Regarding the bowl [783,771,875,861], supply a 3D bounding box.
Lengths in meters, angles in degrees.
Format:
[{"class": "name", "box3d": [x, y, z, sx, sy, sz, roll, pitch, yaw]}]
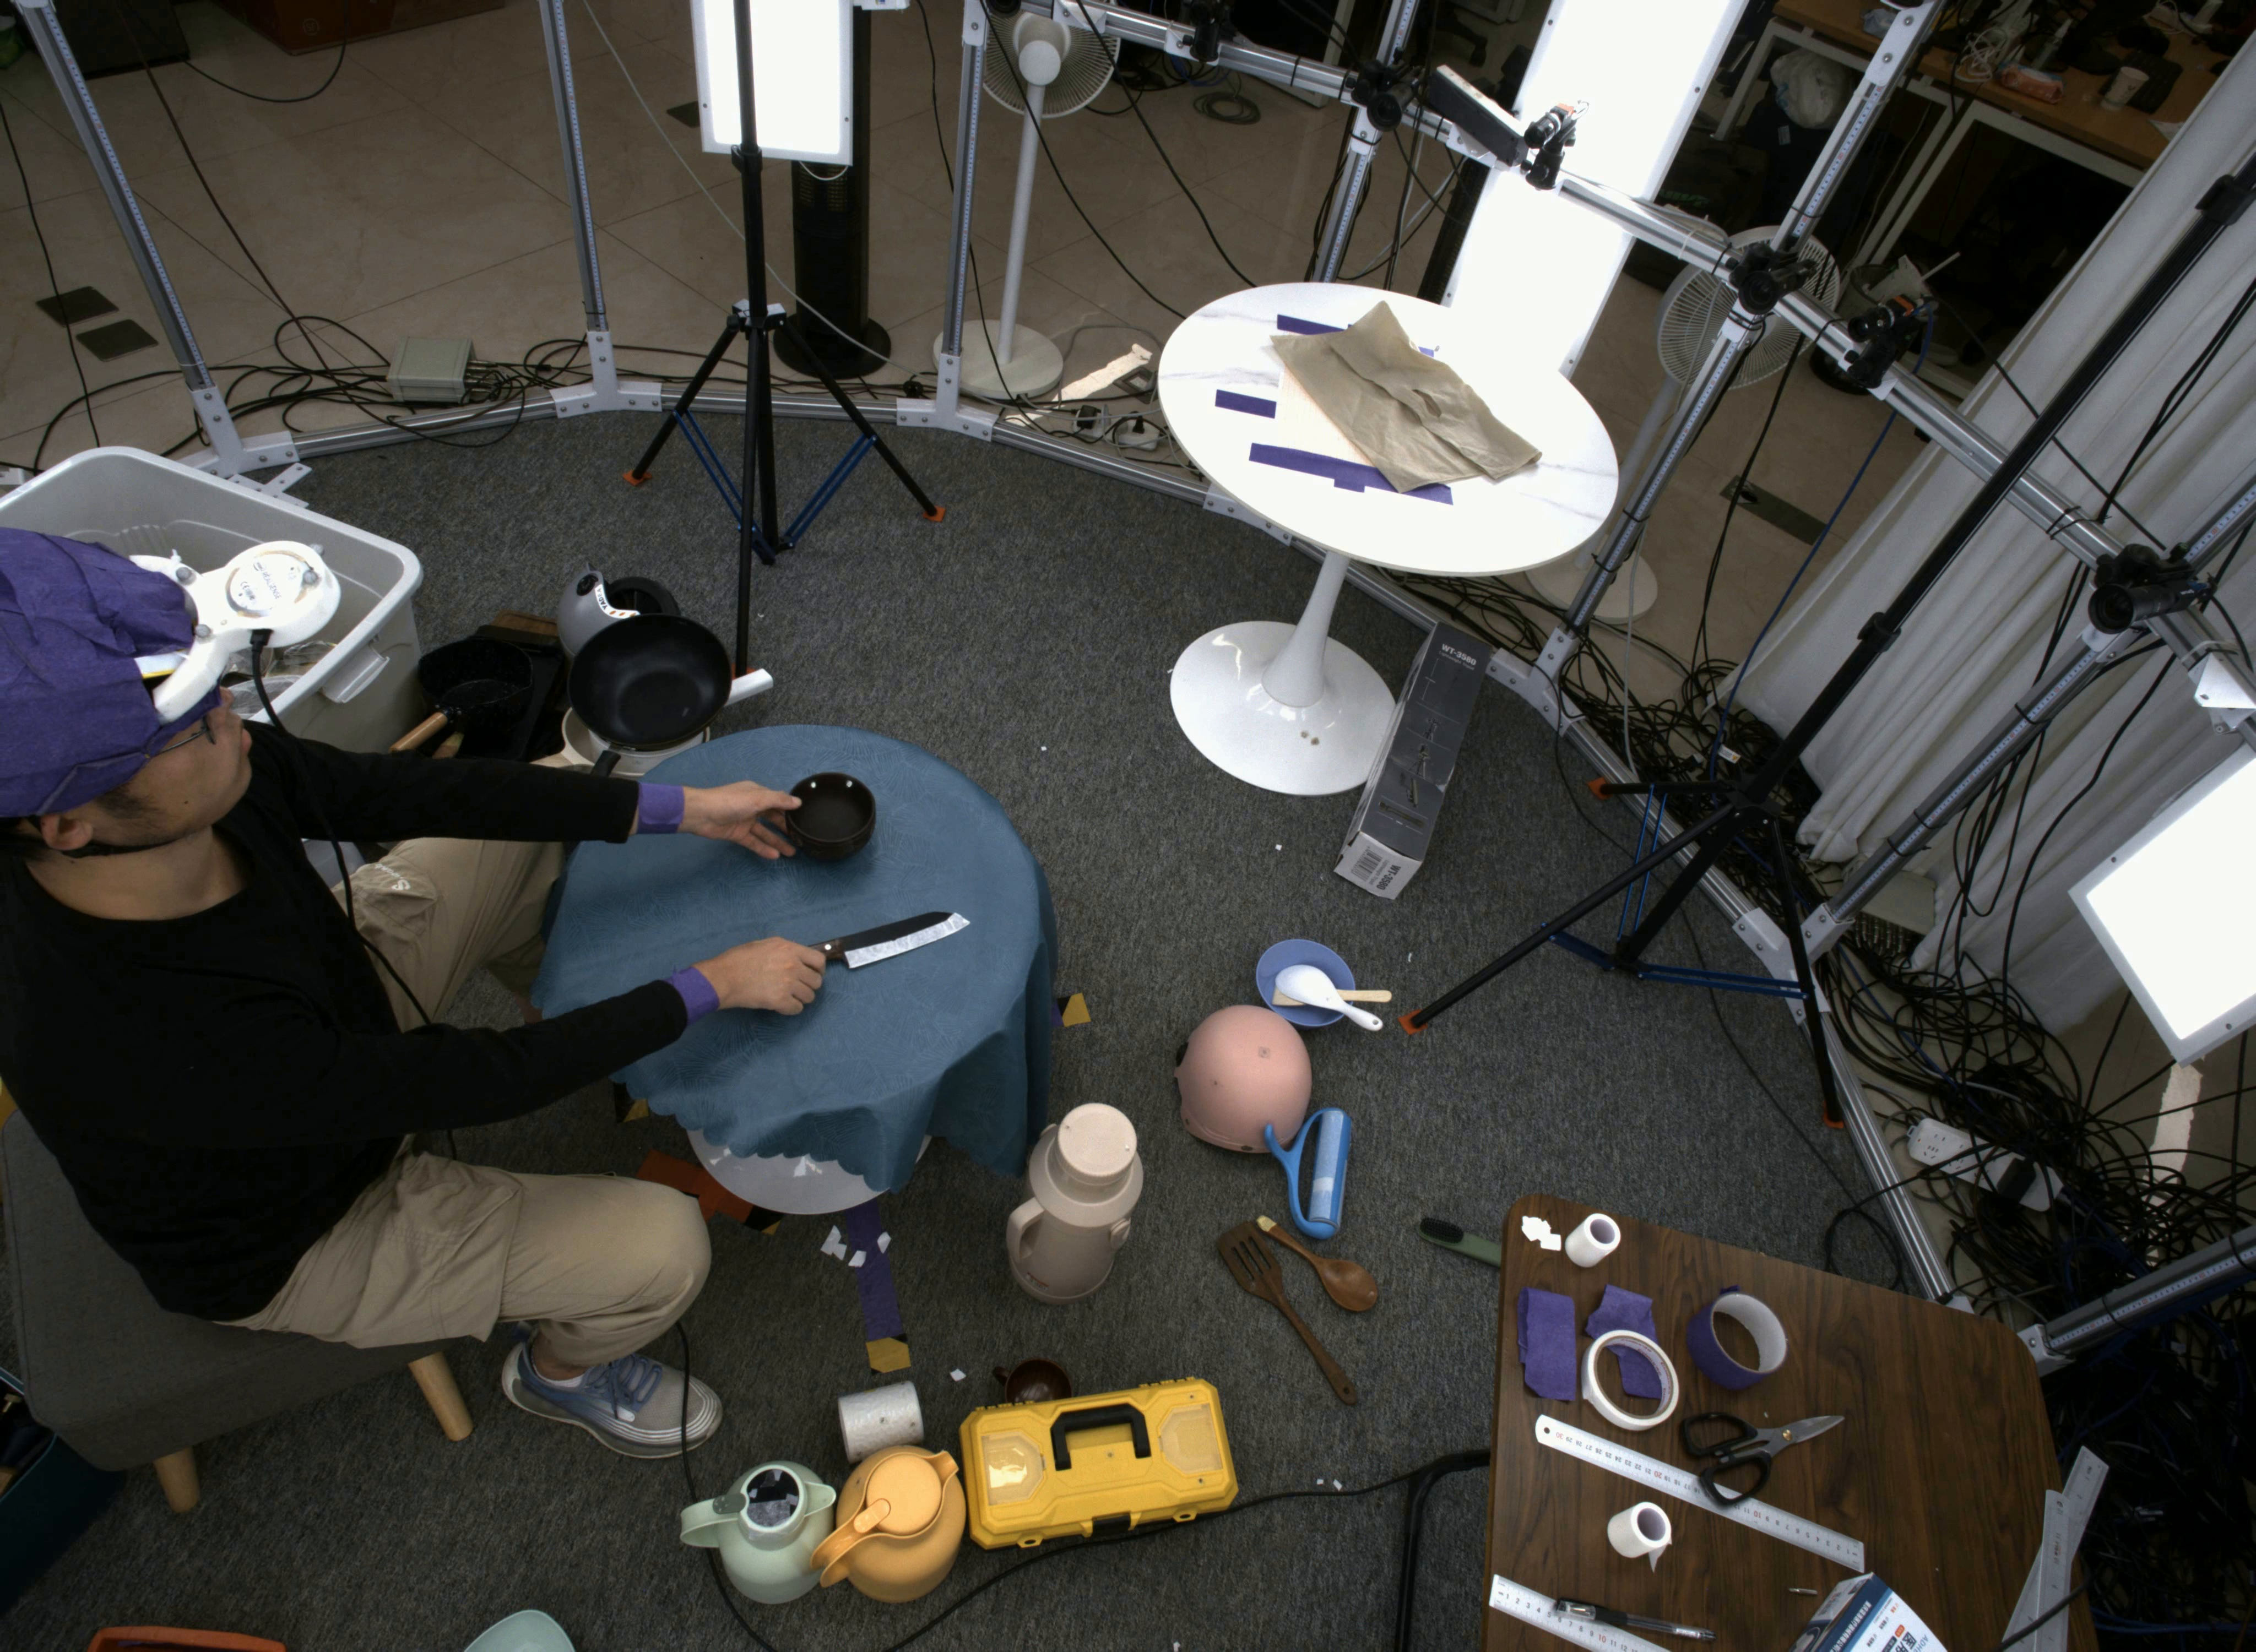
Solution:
[{"class": "bowl", "box3d": [-0.389, -0.006, 1.690, 0.118, 0.071, 0.116, 7, 53, -8]}]

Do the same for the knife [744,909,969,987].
[{"class": "knife", "box3d": [-0.334, 0.150, 1.623, 0.291, 0.020, 0.049, -13, 66, -26]}]
